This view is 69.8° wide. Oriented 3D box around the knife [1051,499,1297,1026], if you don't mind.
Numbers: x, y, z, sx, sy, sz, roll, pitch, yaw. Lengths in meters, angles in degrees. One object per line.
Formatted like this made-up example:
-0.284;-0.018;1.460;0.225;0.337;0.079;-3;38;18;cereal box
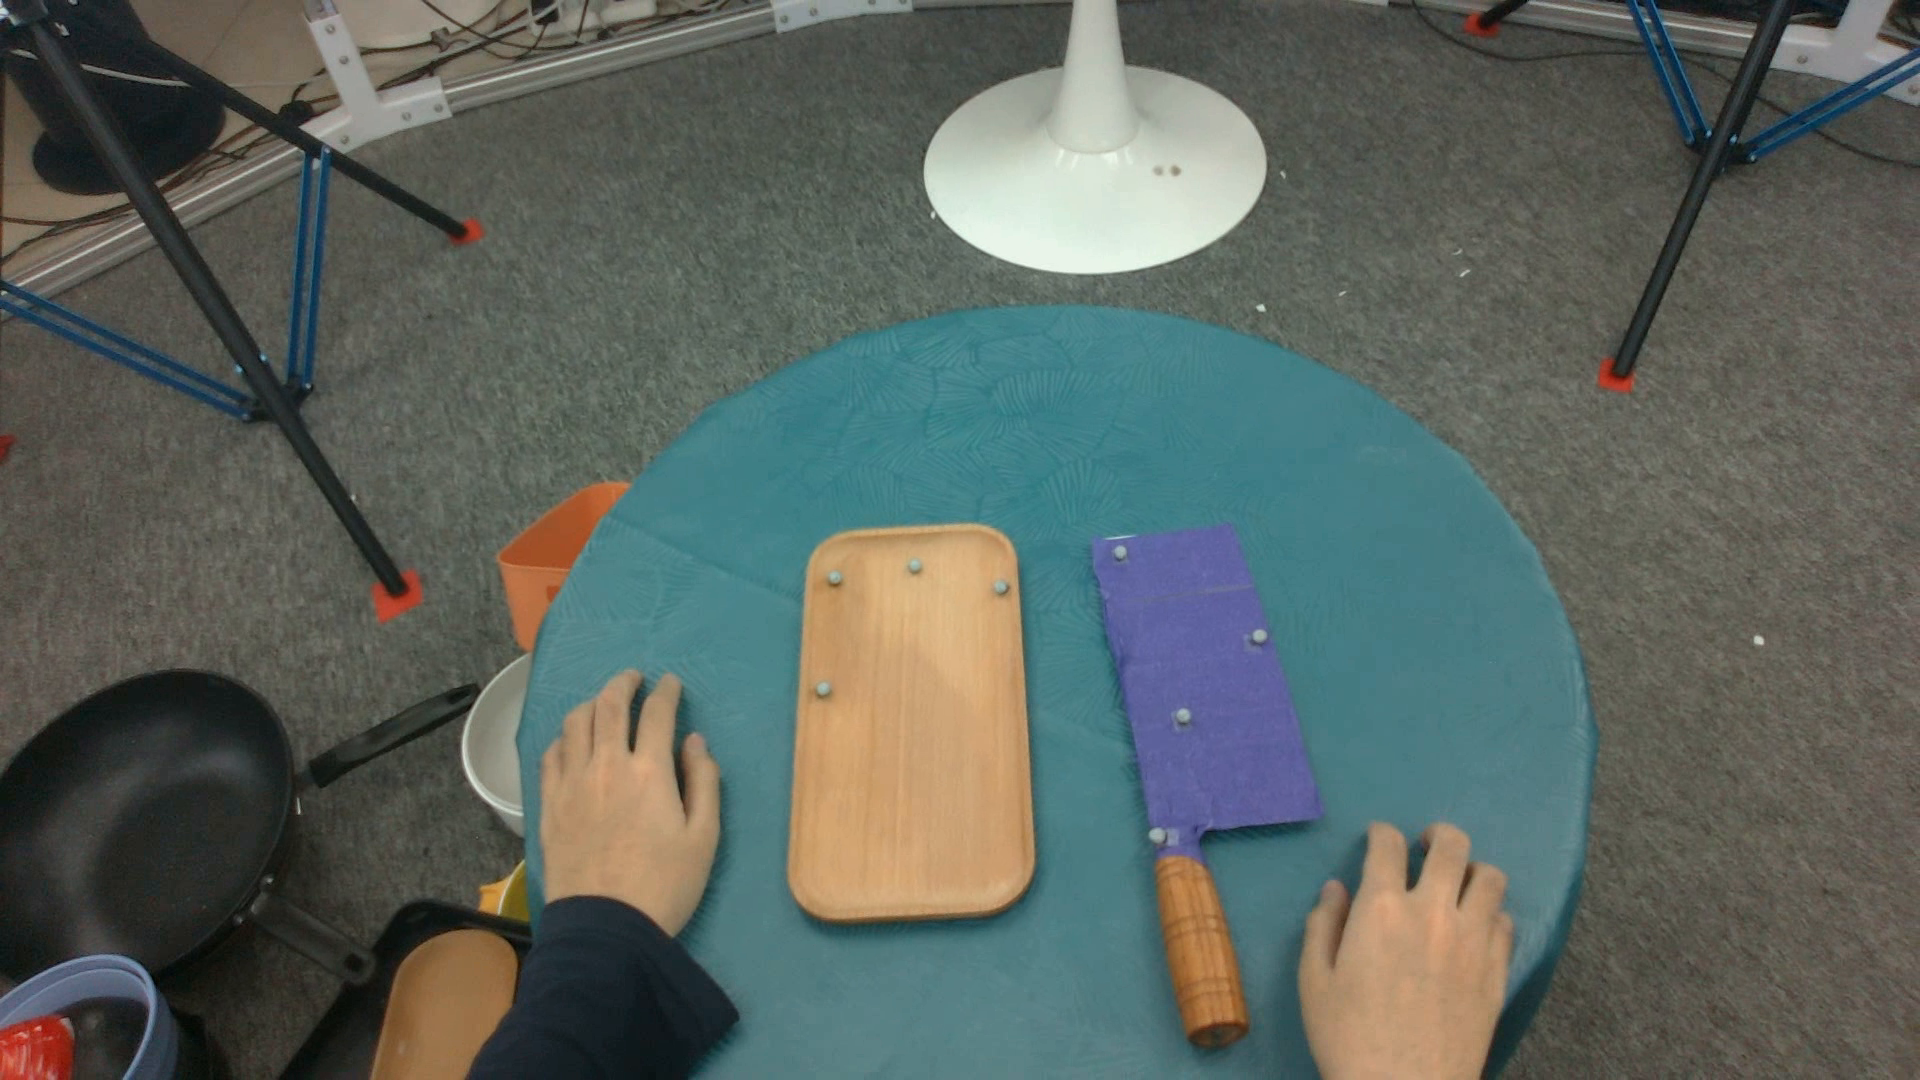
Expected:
0.125;0.096;0.738;0.104;0.032;0.316;-7;51;-2;knife

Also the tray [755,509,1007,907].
-0.040;0.084;0.764;0.130;0.023;0.252;-3;52;4;tray
